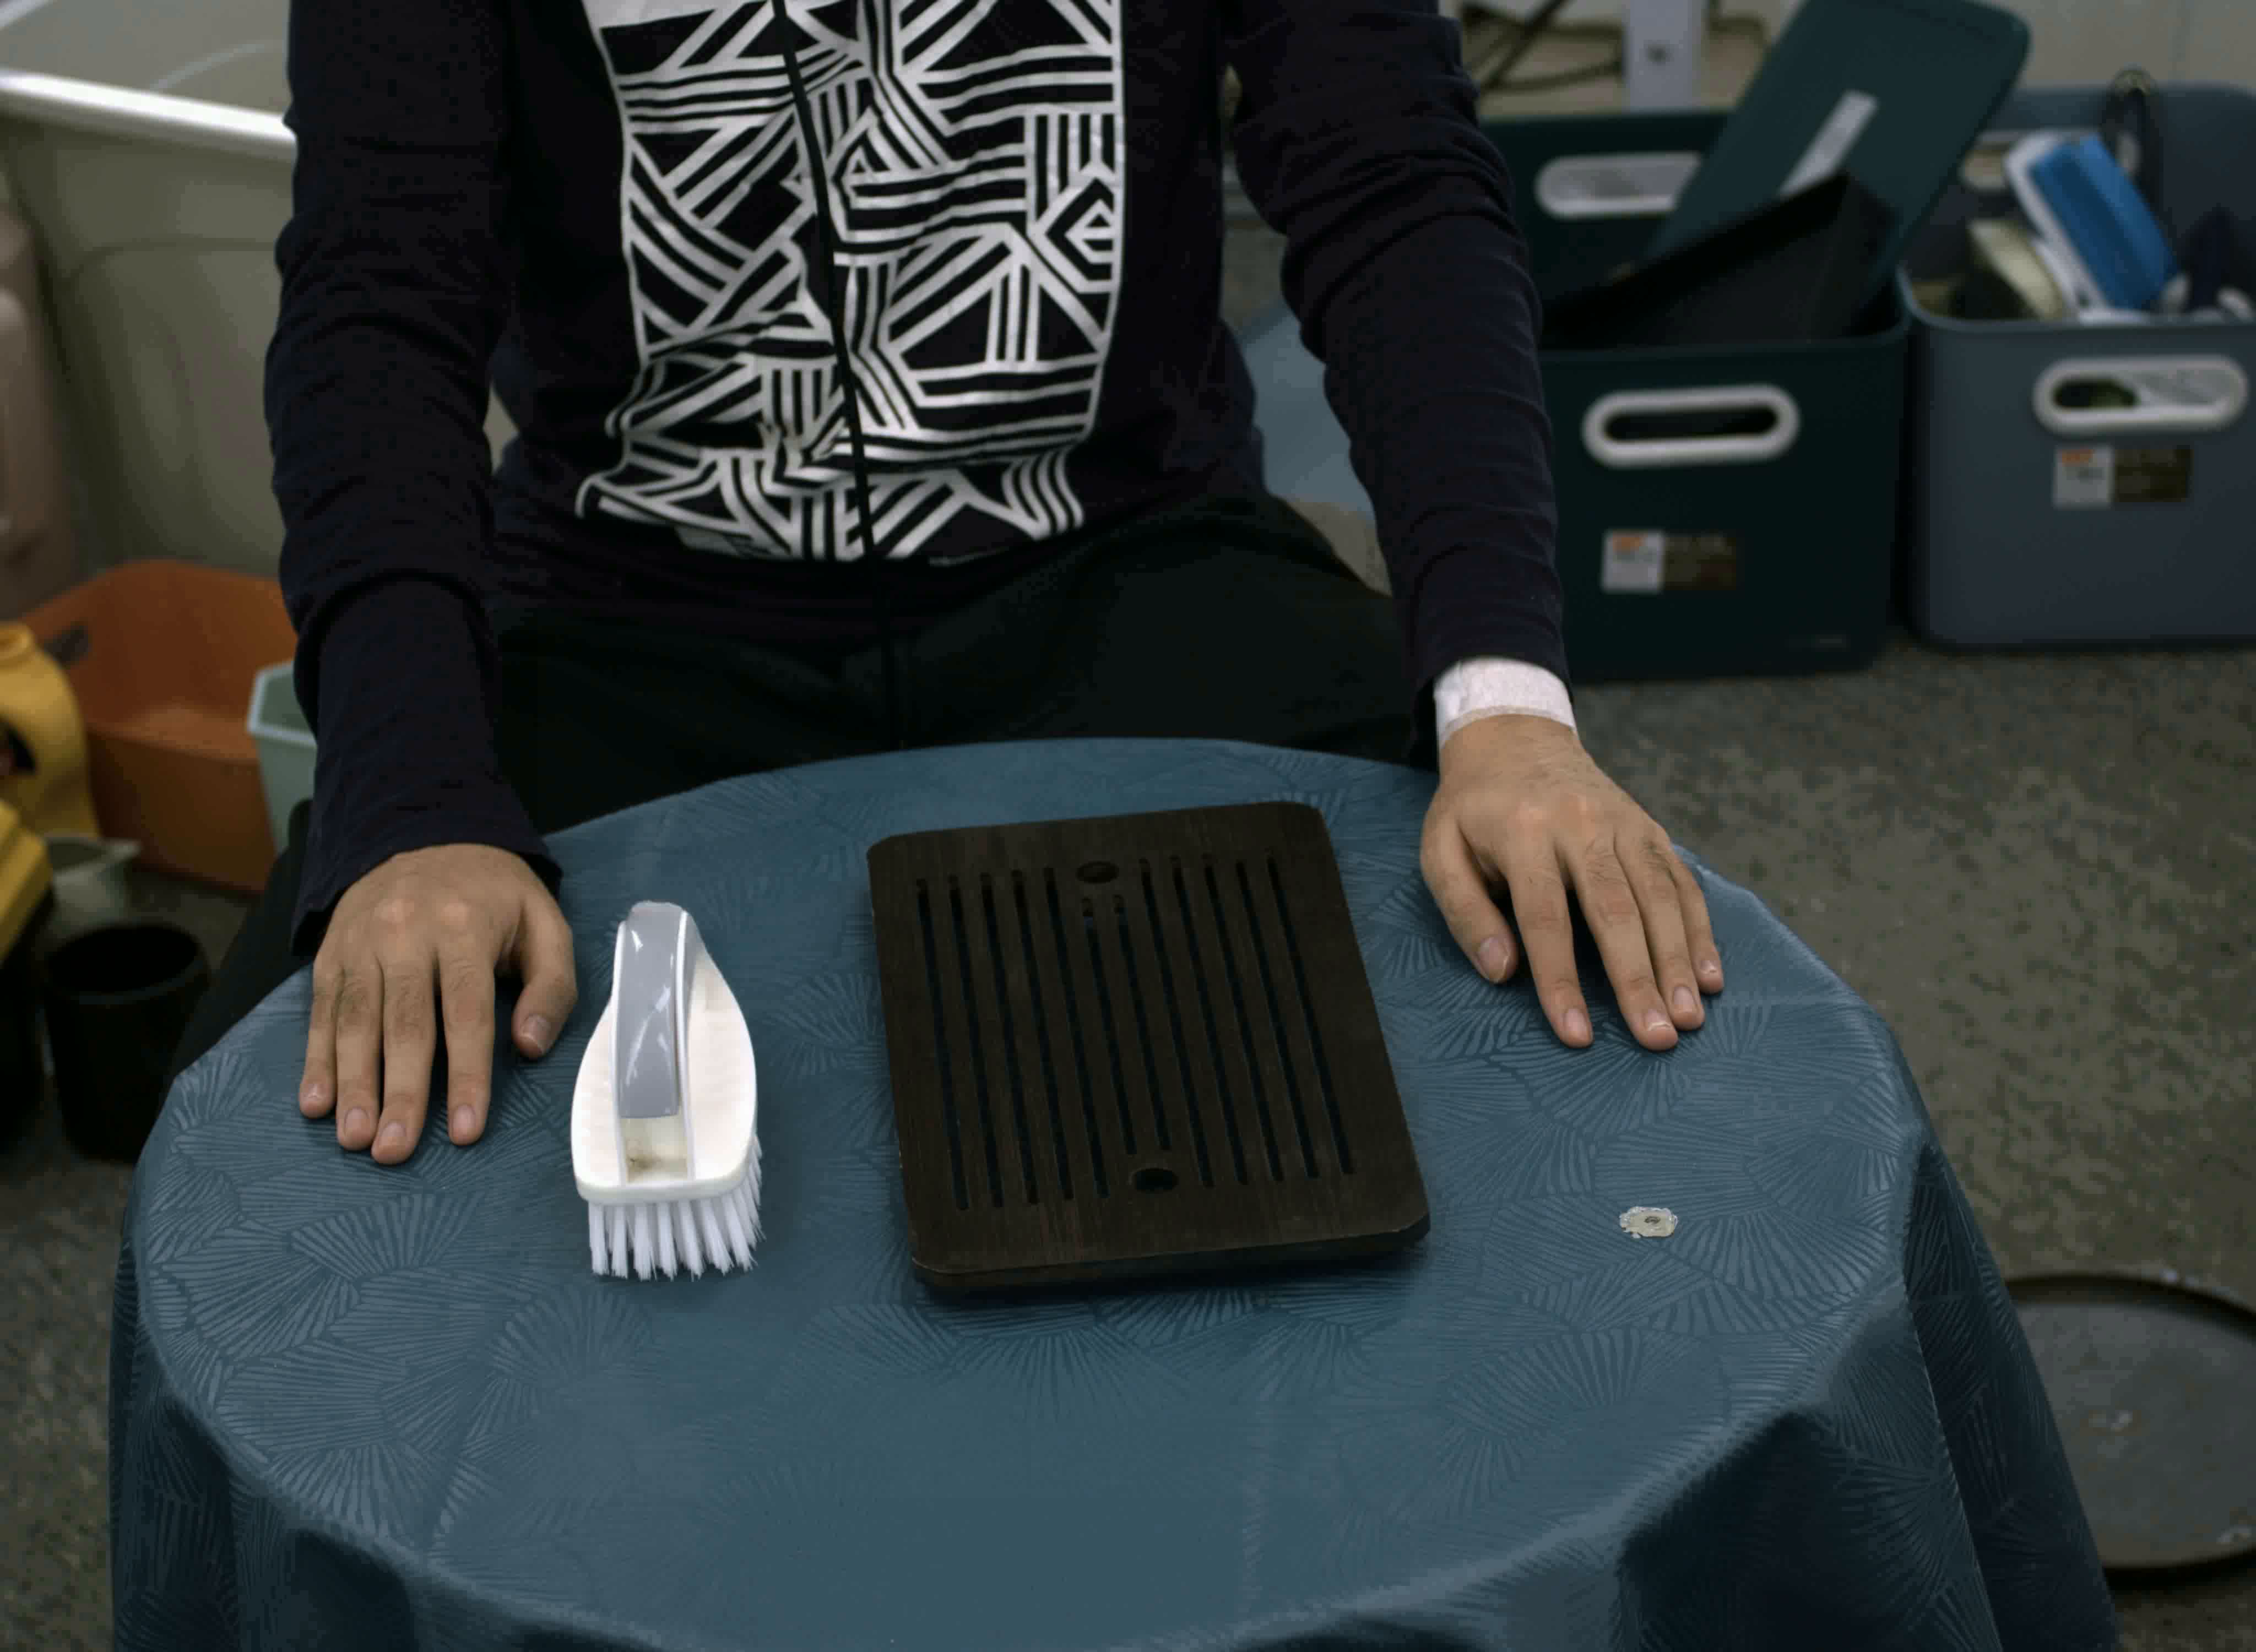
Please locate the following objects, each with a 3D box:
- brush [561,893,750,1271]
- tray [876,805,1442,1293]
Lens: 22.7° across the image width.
[{"bbox_3d":[-0.157,0.070,1.878,0.061,0.093,0.178,-4,25,0],"label":"brush"},{"bbox_3d":[0.005,0.074,1.932,0.169,0.018,0.310,-5,27,-4],"label":"tray"}]
